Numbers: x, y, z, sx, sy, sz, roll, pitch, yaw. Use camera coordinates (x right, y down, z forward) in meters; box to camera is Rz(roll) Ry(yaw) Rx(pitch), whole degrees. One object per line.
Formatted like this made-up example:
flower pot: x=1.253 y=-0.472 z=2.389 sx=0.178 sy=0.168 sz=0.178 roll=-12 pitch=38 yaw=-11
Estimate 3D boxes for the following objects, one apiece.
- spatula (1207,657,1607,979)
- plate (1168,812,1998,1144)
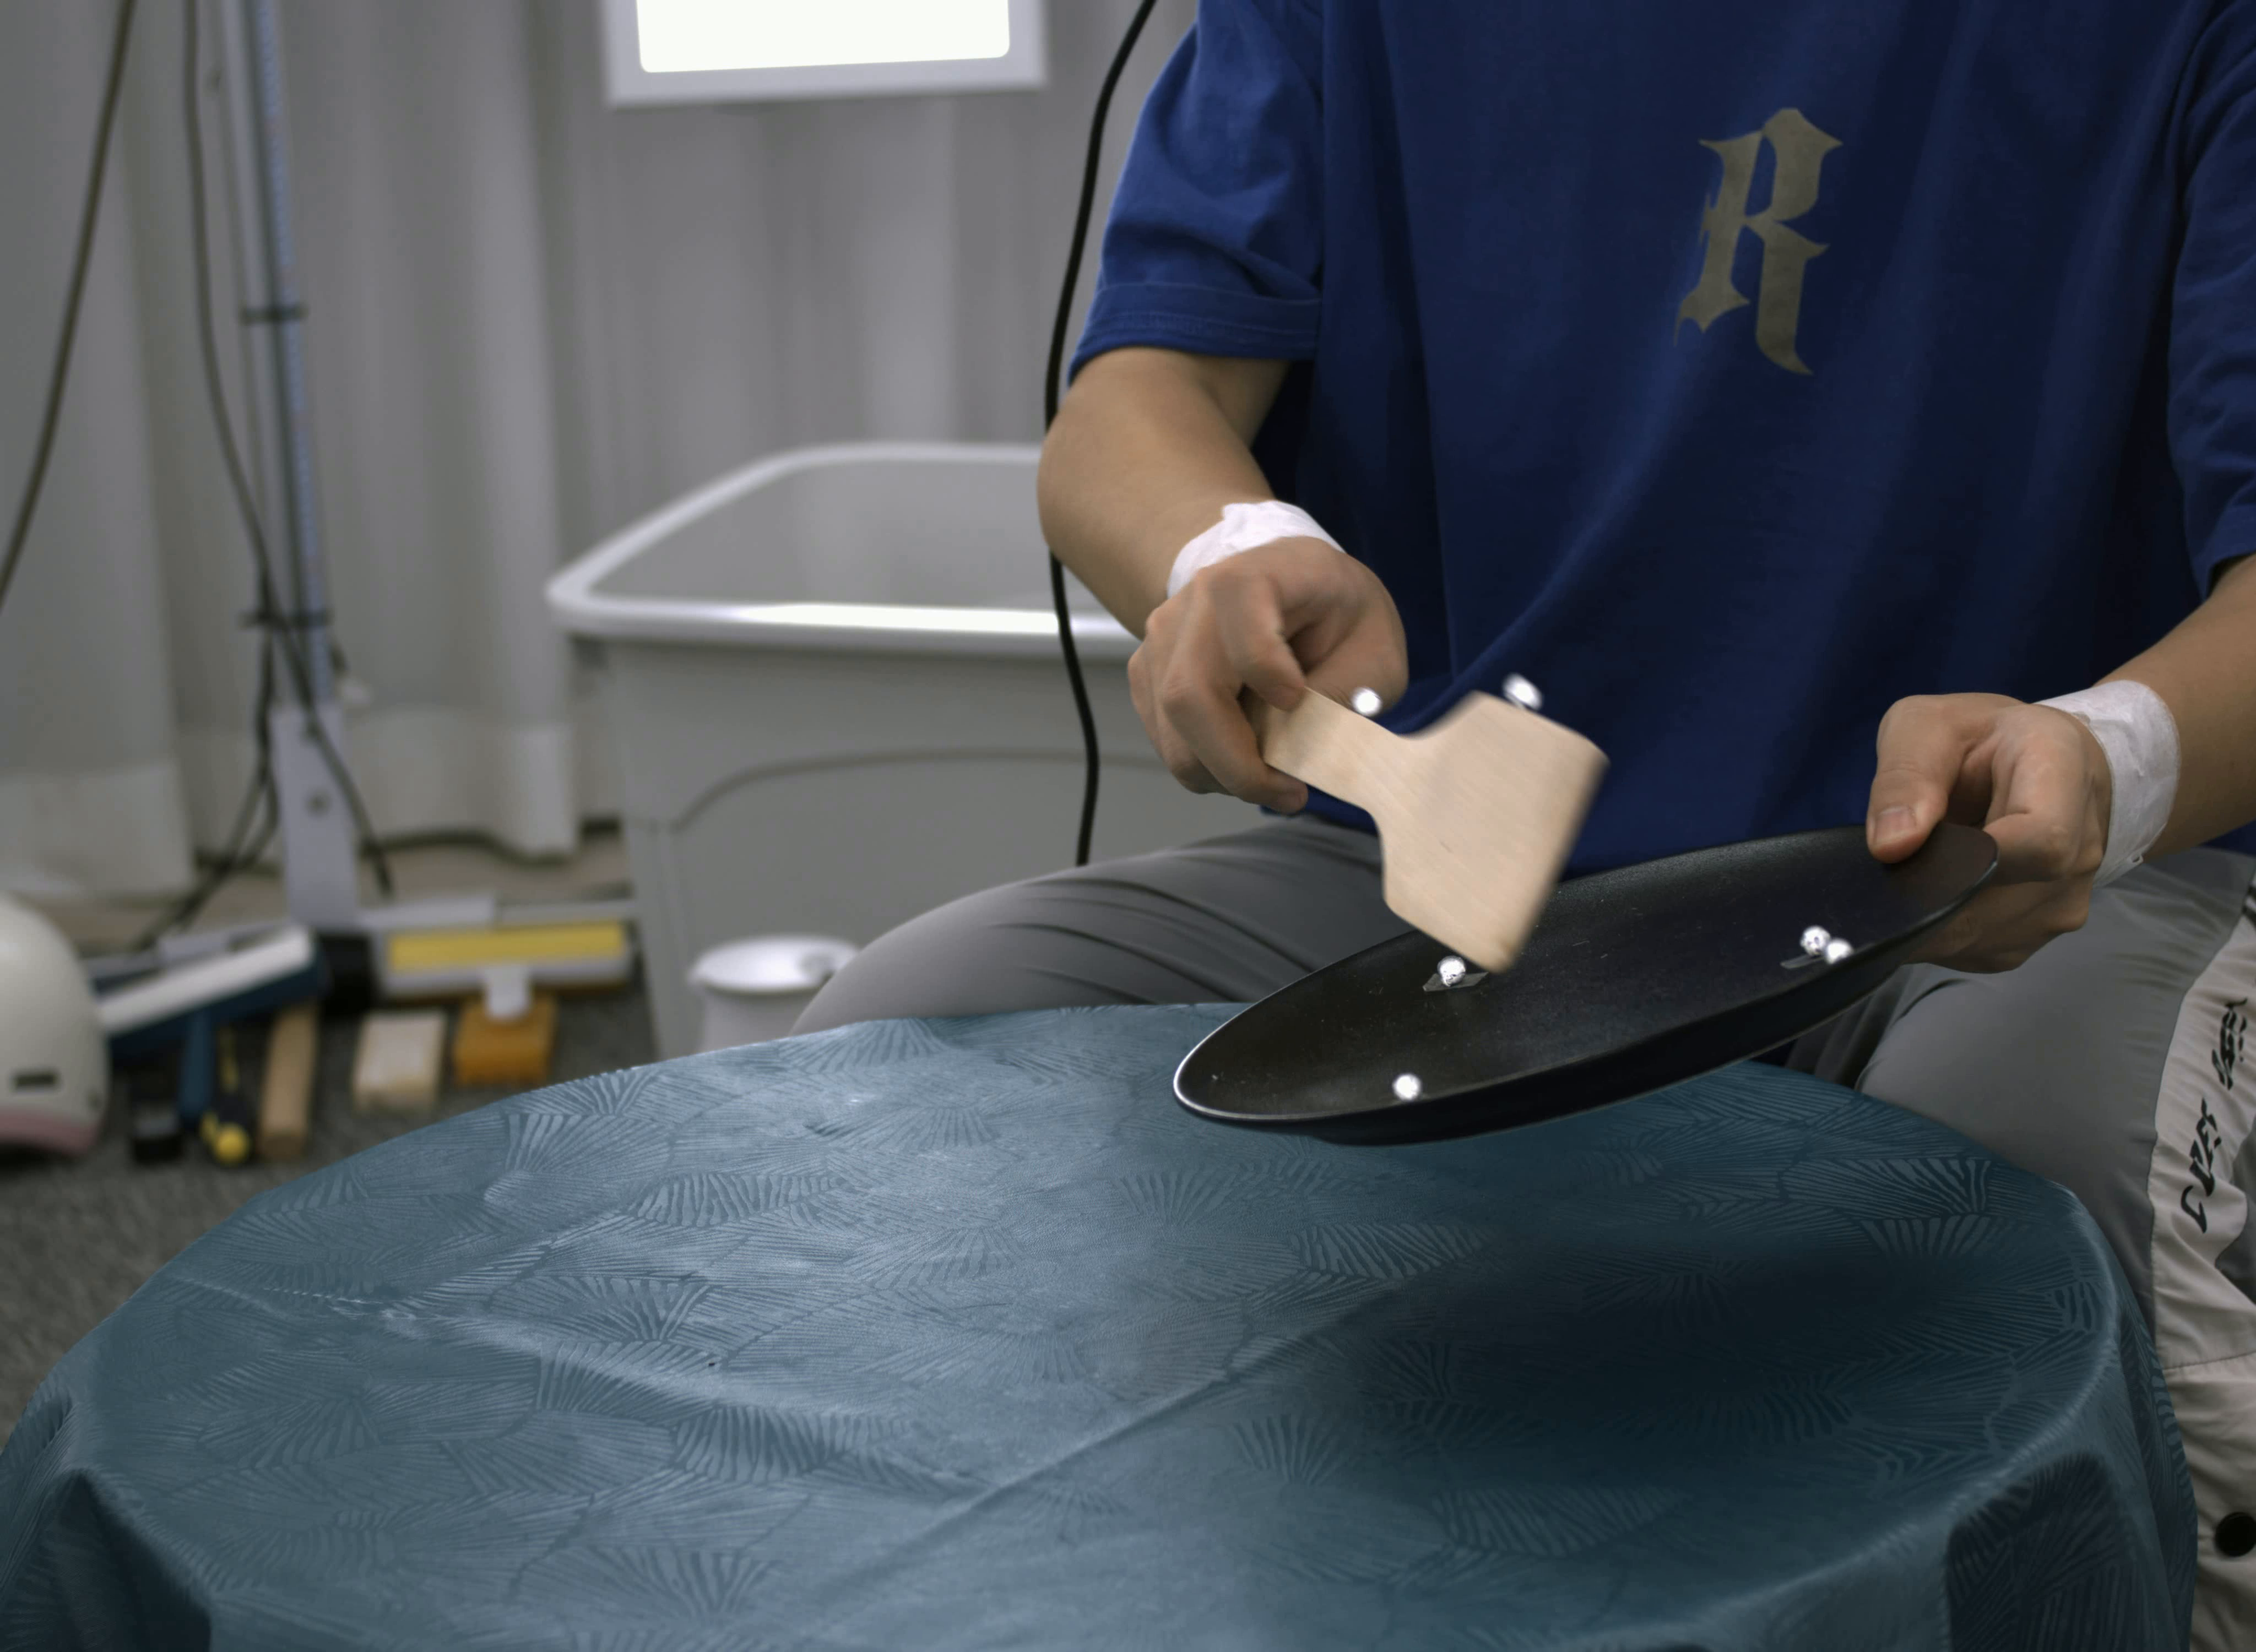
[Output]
spatula: x=0.074 y=-0.017 z=1.640 sx=0.010 sy=0.072 sz=0.295 roll=25 pitch=3 yaw=-20
plate: x=0.130 y=0.047 z=1.544 sx=0.244 sy=0.023 sz=0.245 roll=-17 pitch=9 yaw=2
